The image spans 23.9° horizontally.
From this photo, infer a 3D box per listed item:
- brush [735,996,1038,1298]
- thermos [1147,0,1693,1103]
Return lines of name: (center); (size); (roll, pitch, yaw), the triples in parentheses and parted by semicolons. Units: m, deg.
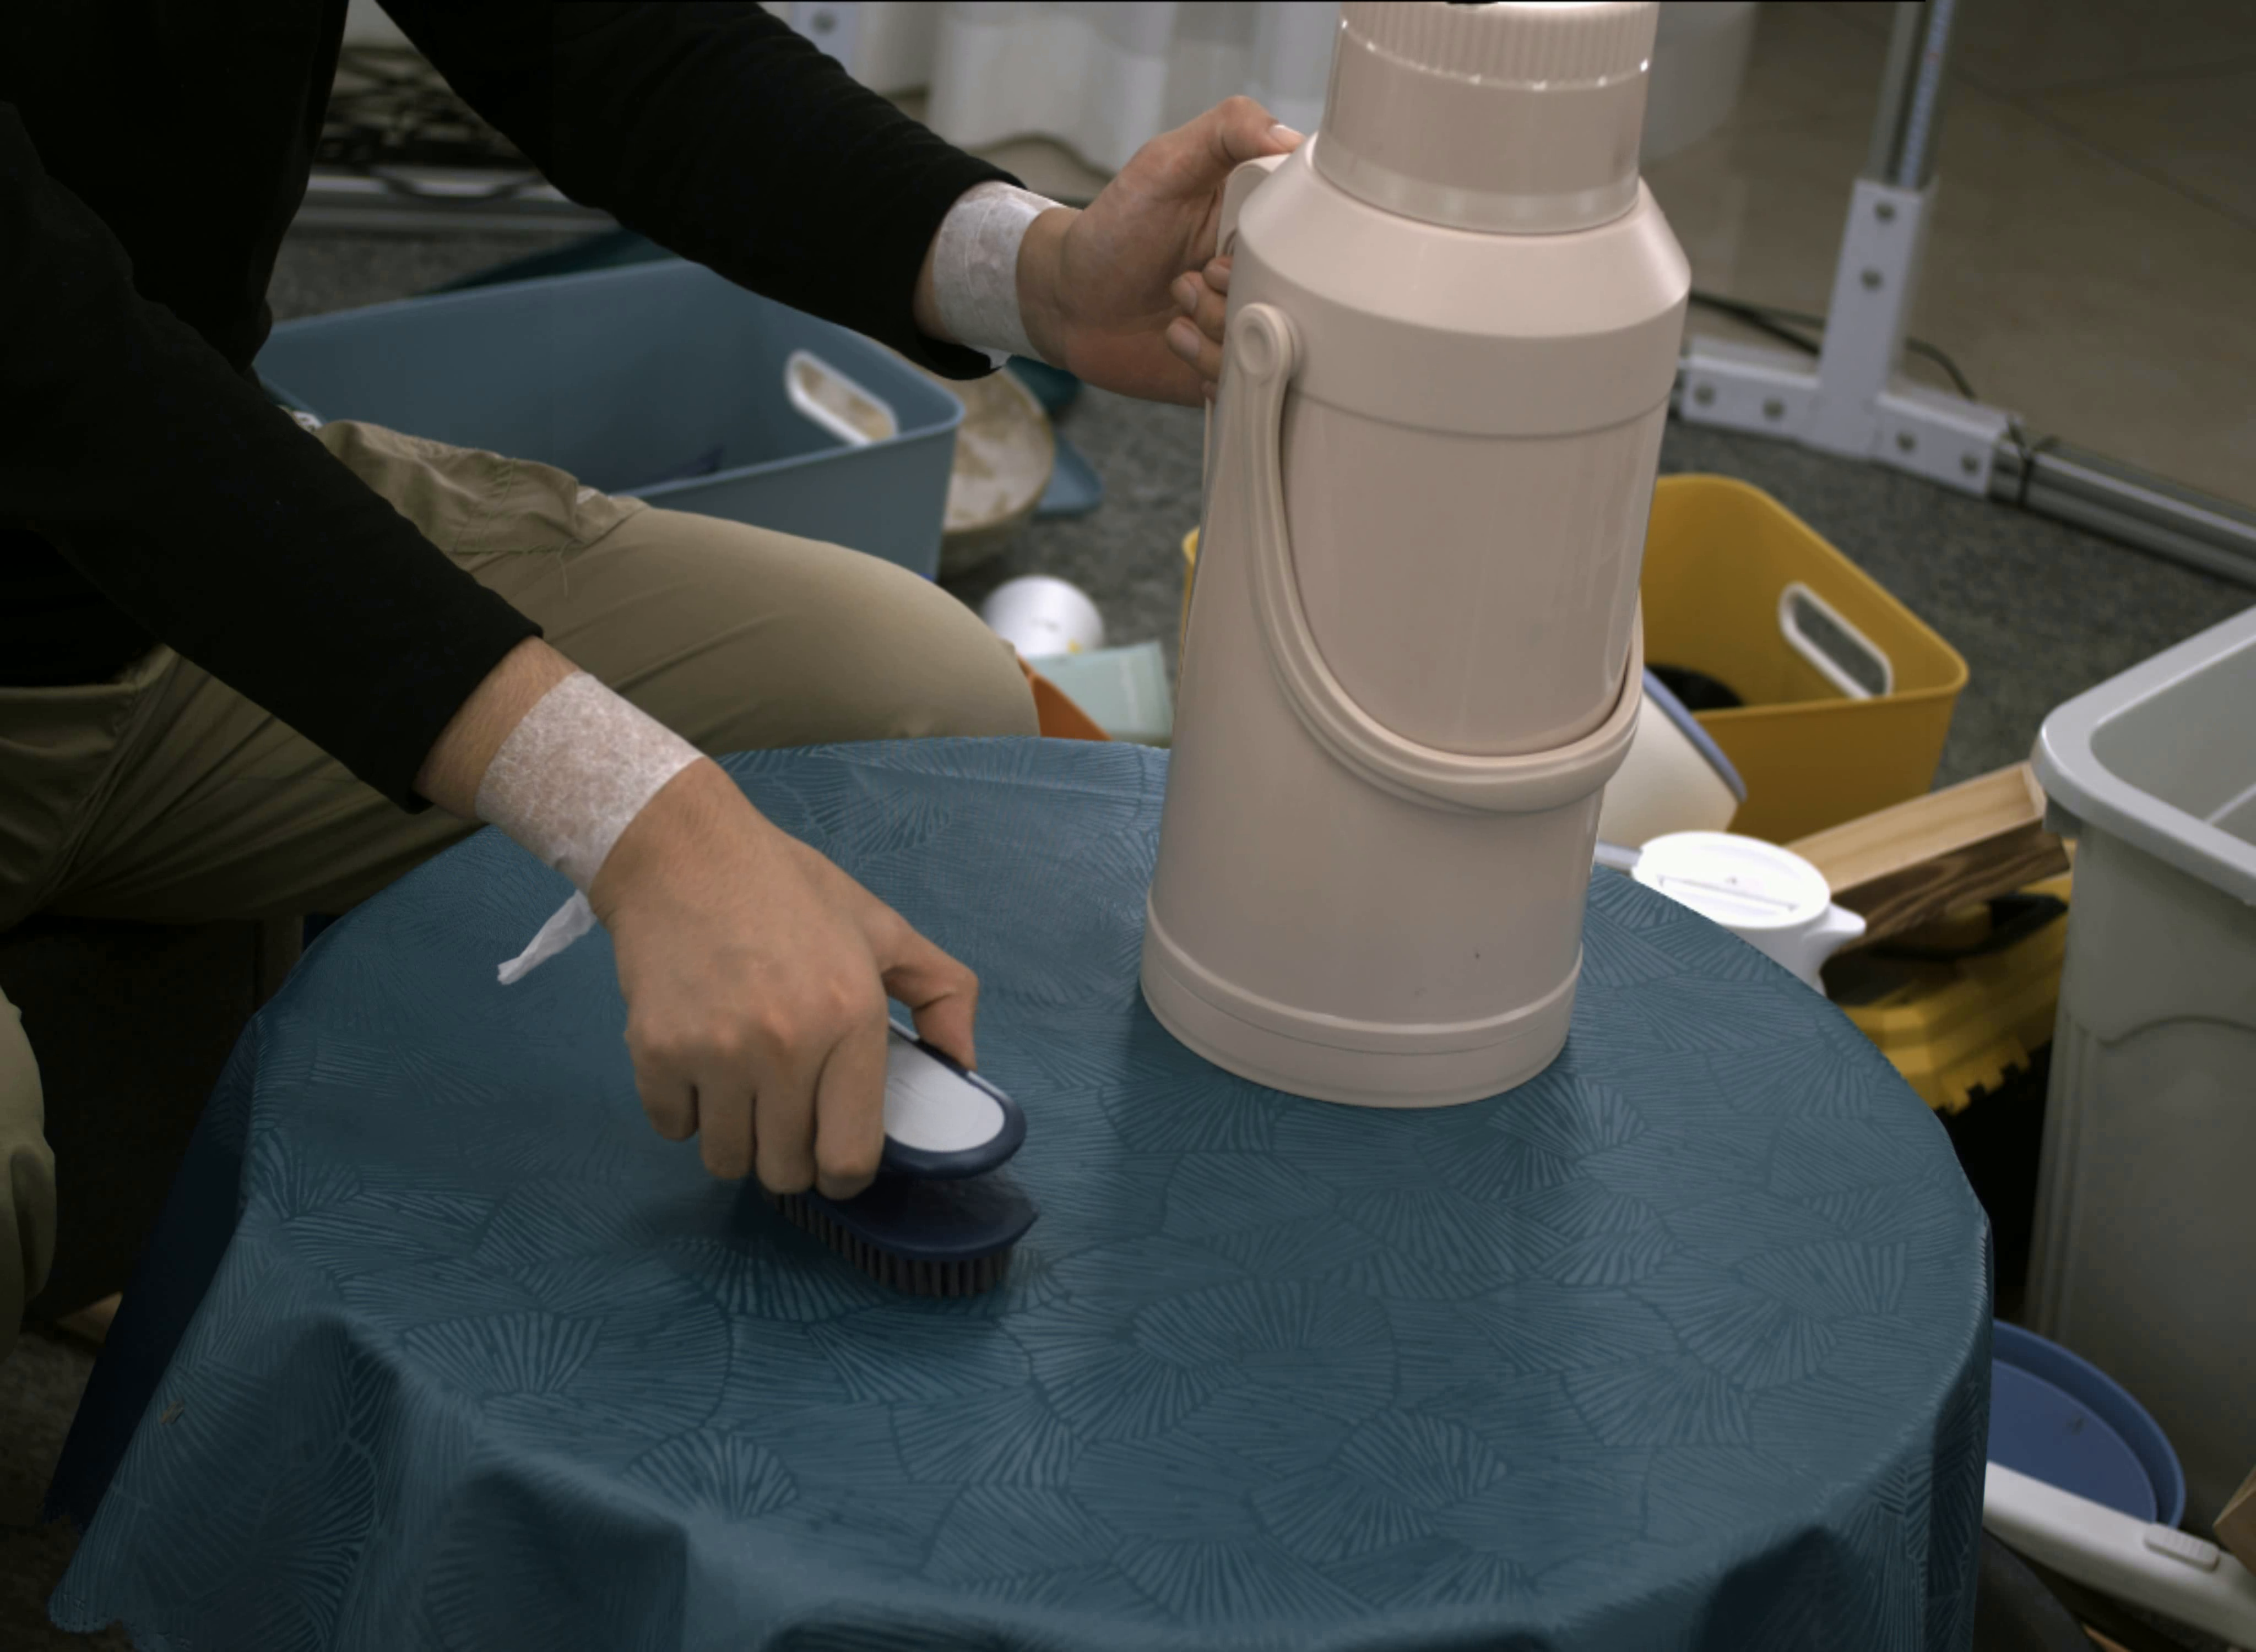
brush: (-0.080, 0.107, 1.754); (0.067, 0.061, 0.122); (-17, 37, -36)
thermos: (0.097, -0.119, 1.864); (0.174, 0.405, 0.209); (-15, 34, -34)
